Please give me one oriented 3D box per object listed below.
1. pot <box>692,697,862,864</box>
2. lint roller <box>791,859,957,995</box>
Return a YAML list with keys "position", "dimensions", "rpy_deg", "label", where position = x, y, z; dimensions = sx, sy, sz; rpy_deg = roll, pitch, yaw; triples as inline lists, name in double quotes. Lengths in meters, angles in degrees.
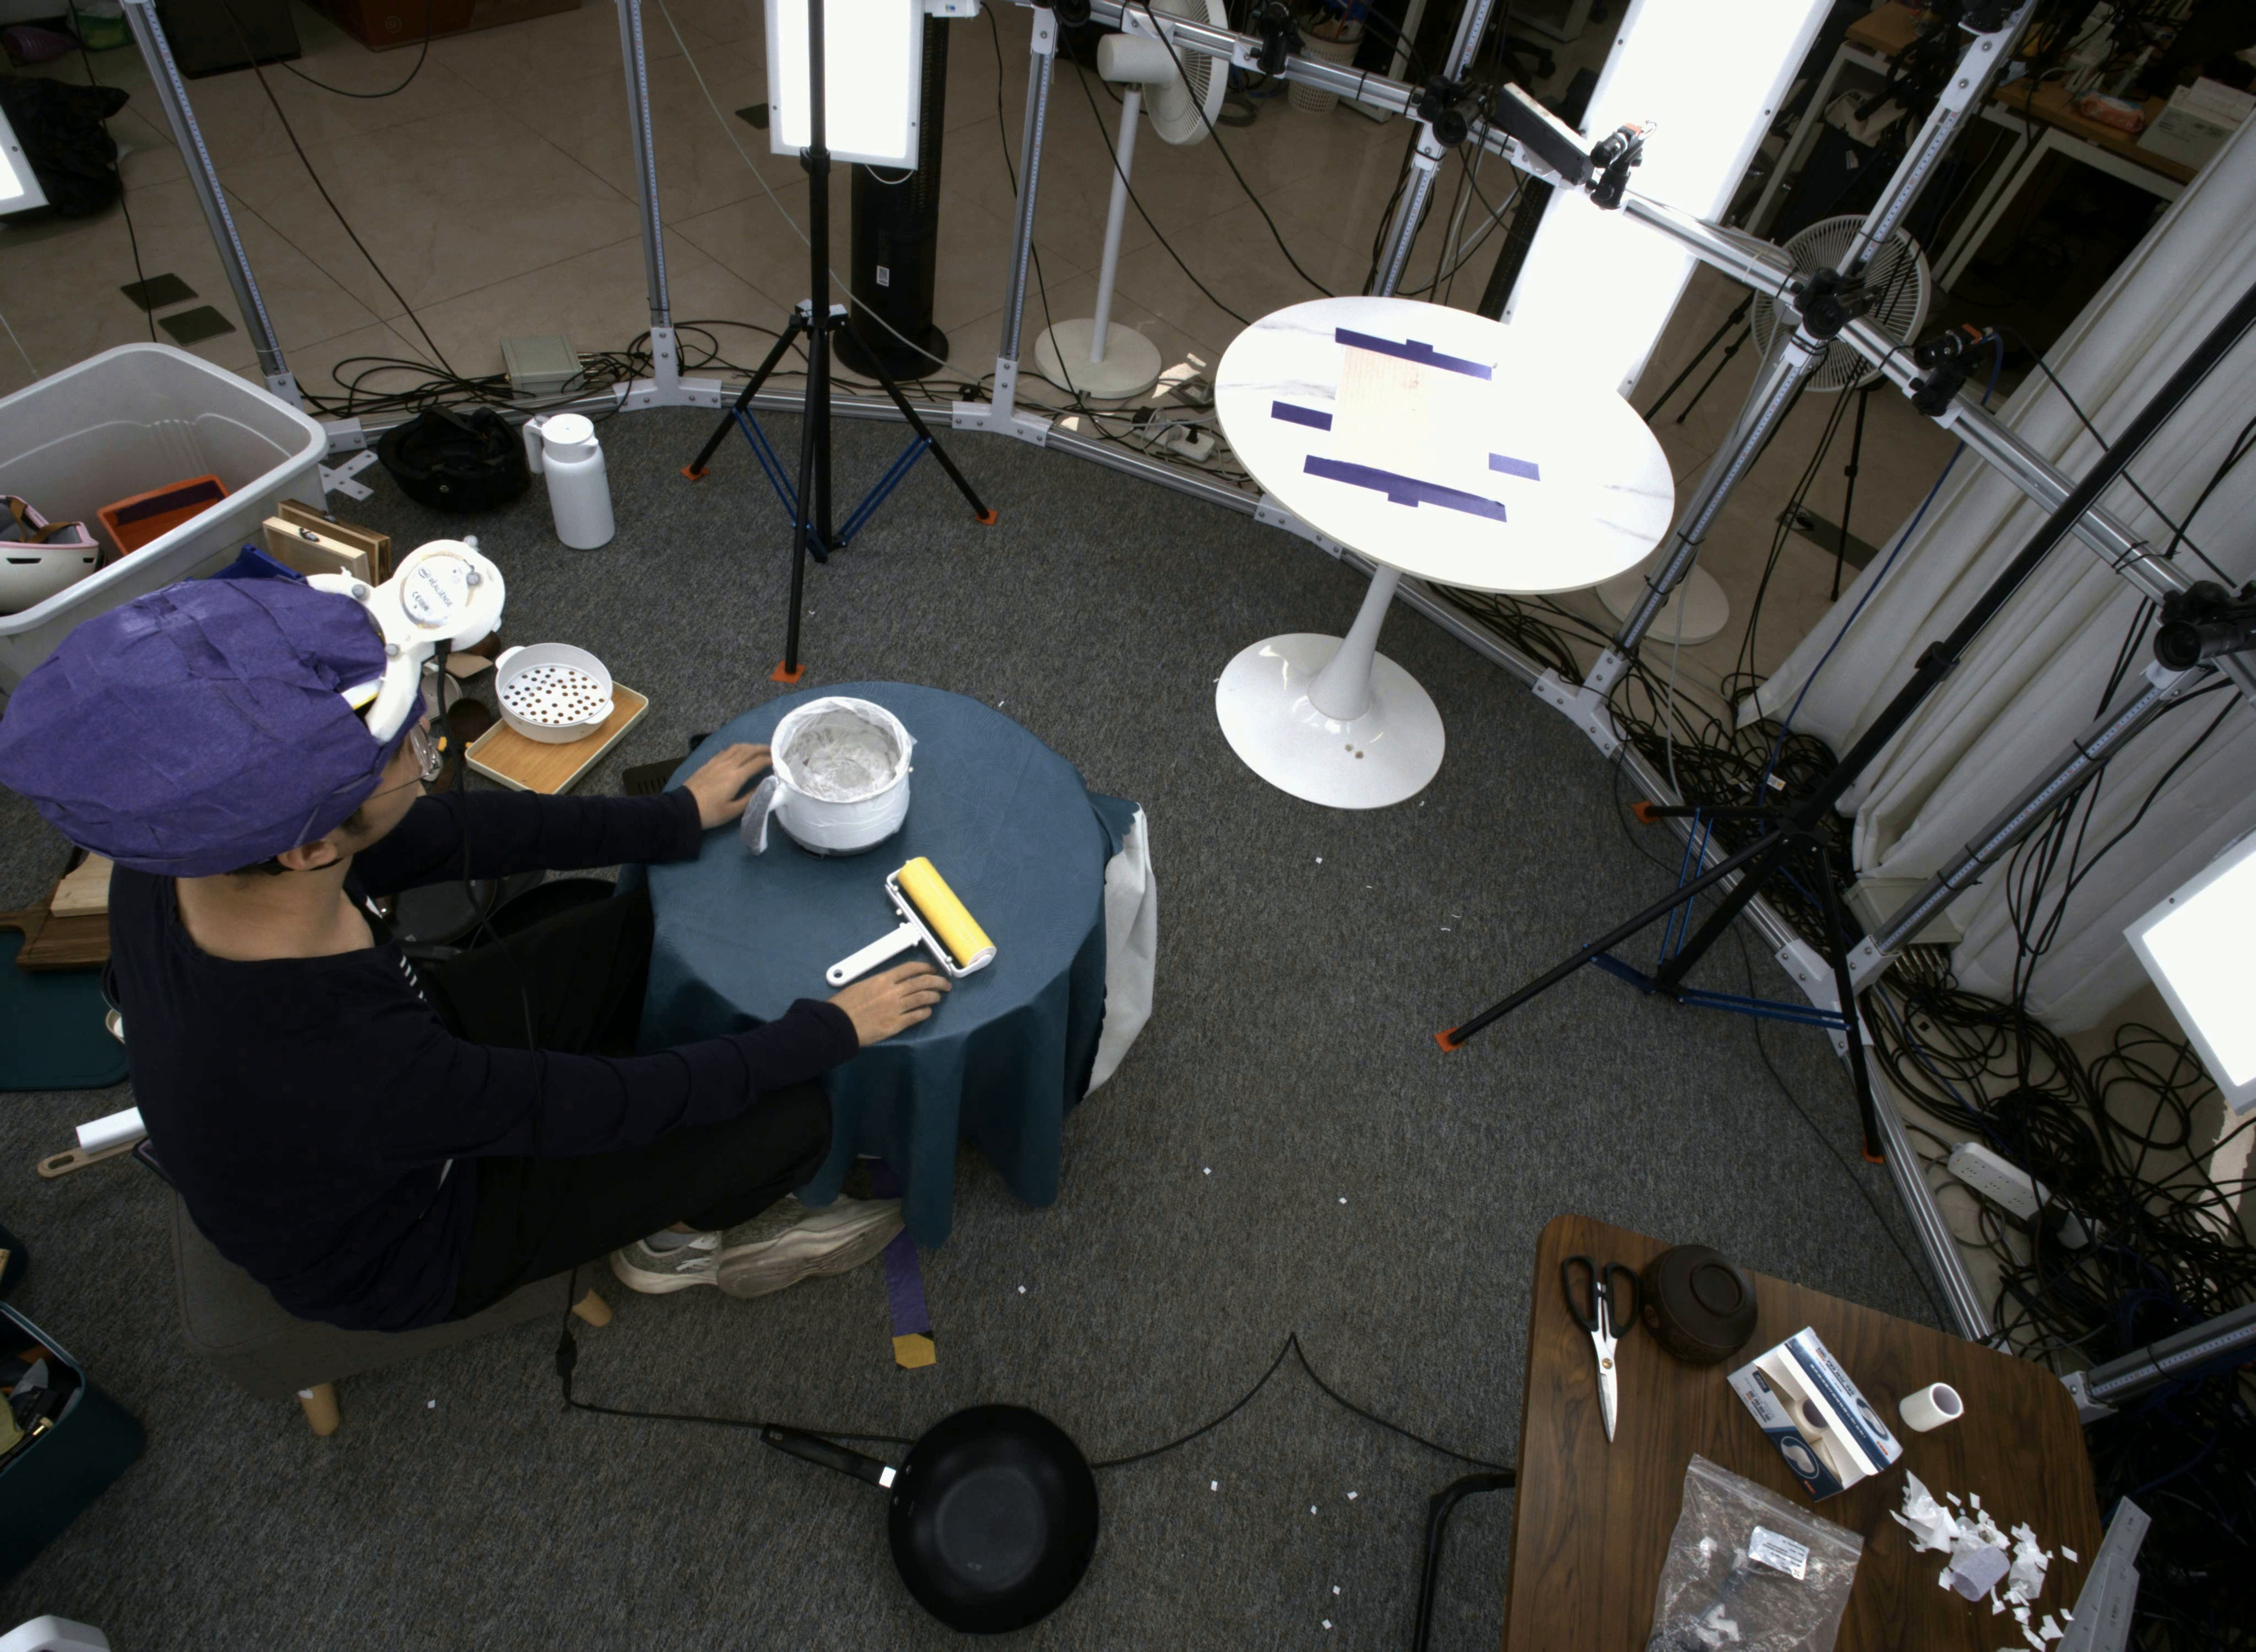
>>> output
- position: [-0.455, -0.045, 1.666]
  dimensions: [0.174, 0.139, 0.234]
  rpy_deg: [41, 53, 21]
  label: "pot"
- position: [-0.337, 0.143, 1.620]
  dimensions: [0.193, 0.052, 0.170]
  rpy_deg: [-31, 66, -33]
  label: "lint roller"
